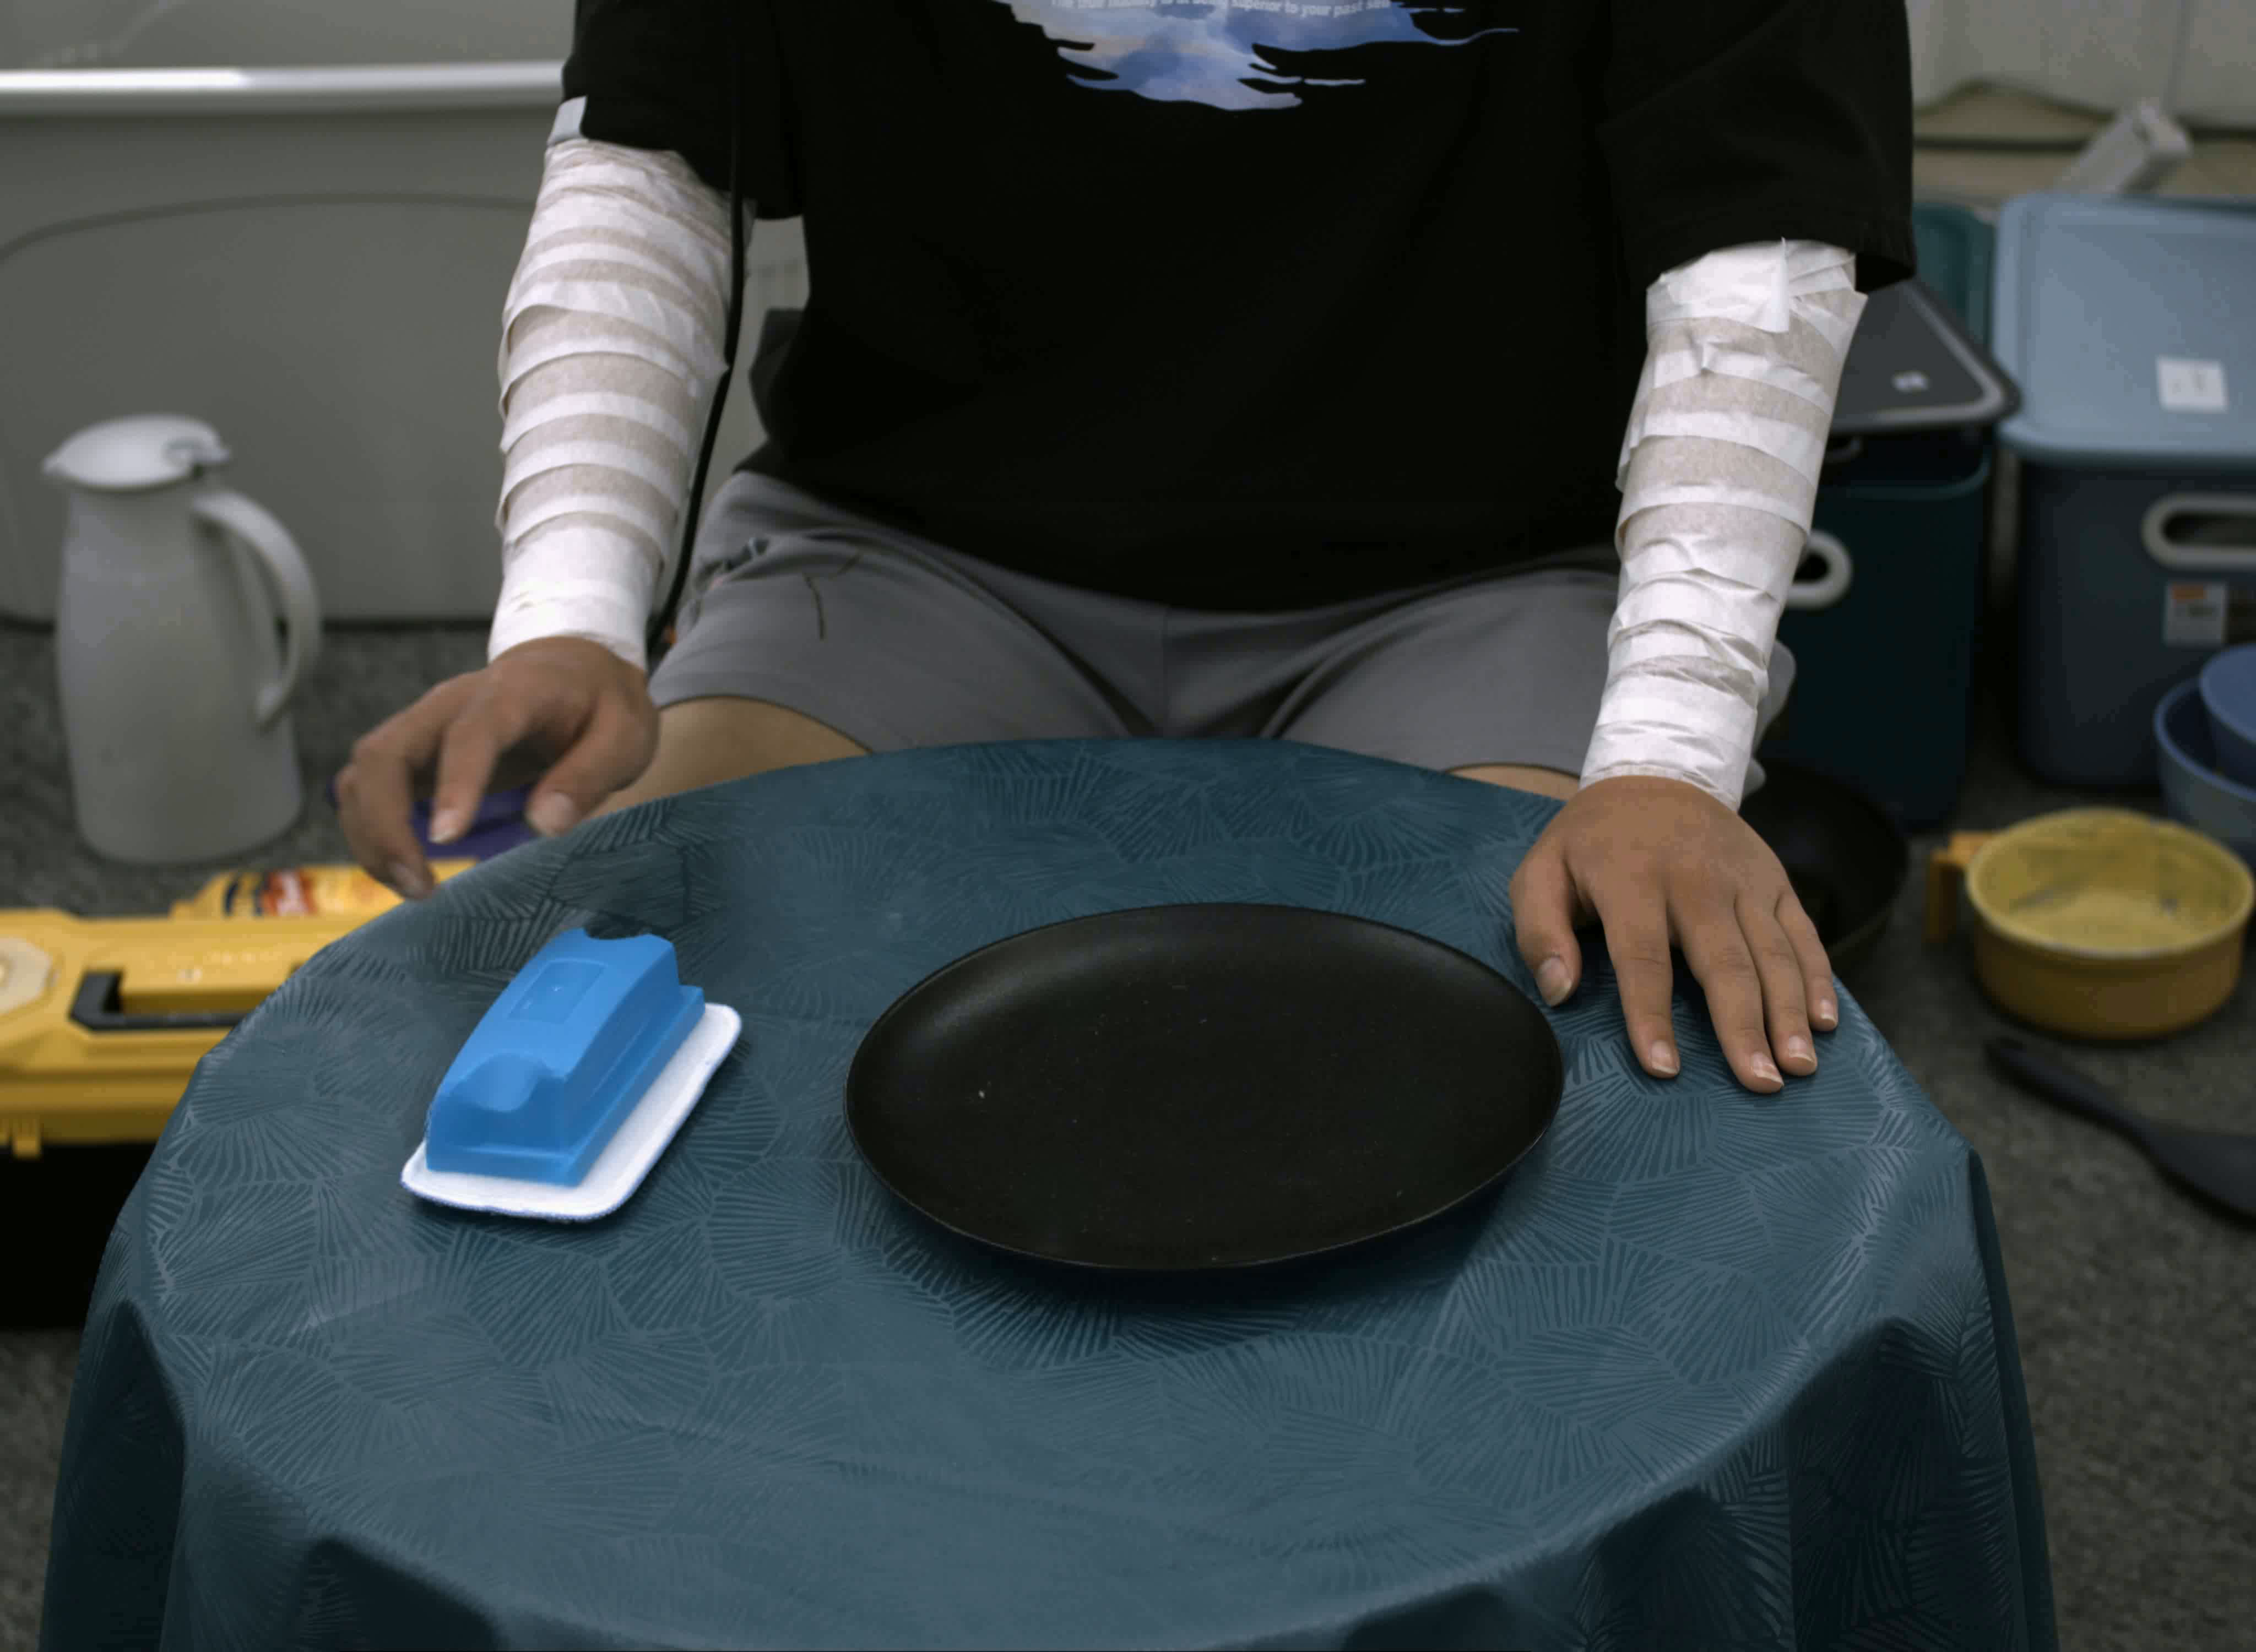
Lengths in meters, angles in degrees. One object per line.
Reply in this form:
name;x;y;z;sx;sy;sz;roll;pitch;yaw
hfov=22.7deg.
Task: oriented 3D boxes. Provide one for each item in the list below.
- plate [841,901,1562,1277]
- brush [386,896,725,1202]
plate;0.025;0.092;1.890;0.243;0.023;0.248;-2;27;2
brush;-0.194;0.071;1.911;0.083;0.055;0.146;8;32;13
